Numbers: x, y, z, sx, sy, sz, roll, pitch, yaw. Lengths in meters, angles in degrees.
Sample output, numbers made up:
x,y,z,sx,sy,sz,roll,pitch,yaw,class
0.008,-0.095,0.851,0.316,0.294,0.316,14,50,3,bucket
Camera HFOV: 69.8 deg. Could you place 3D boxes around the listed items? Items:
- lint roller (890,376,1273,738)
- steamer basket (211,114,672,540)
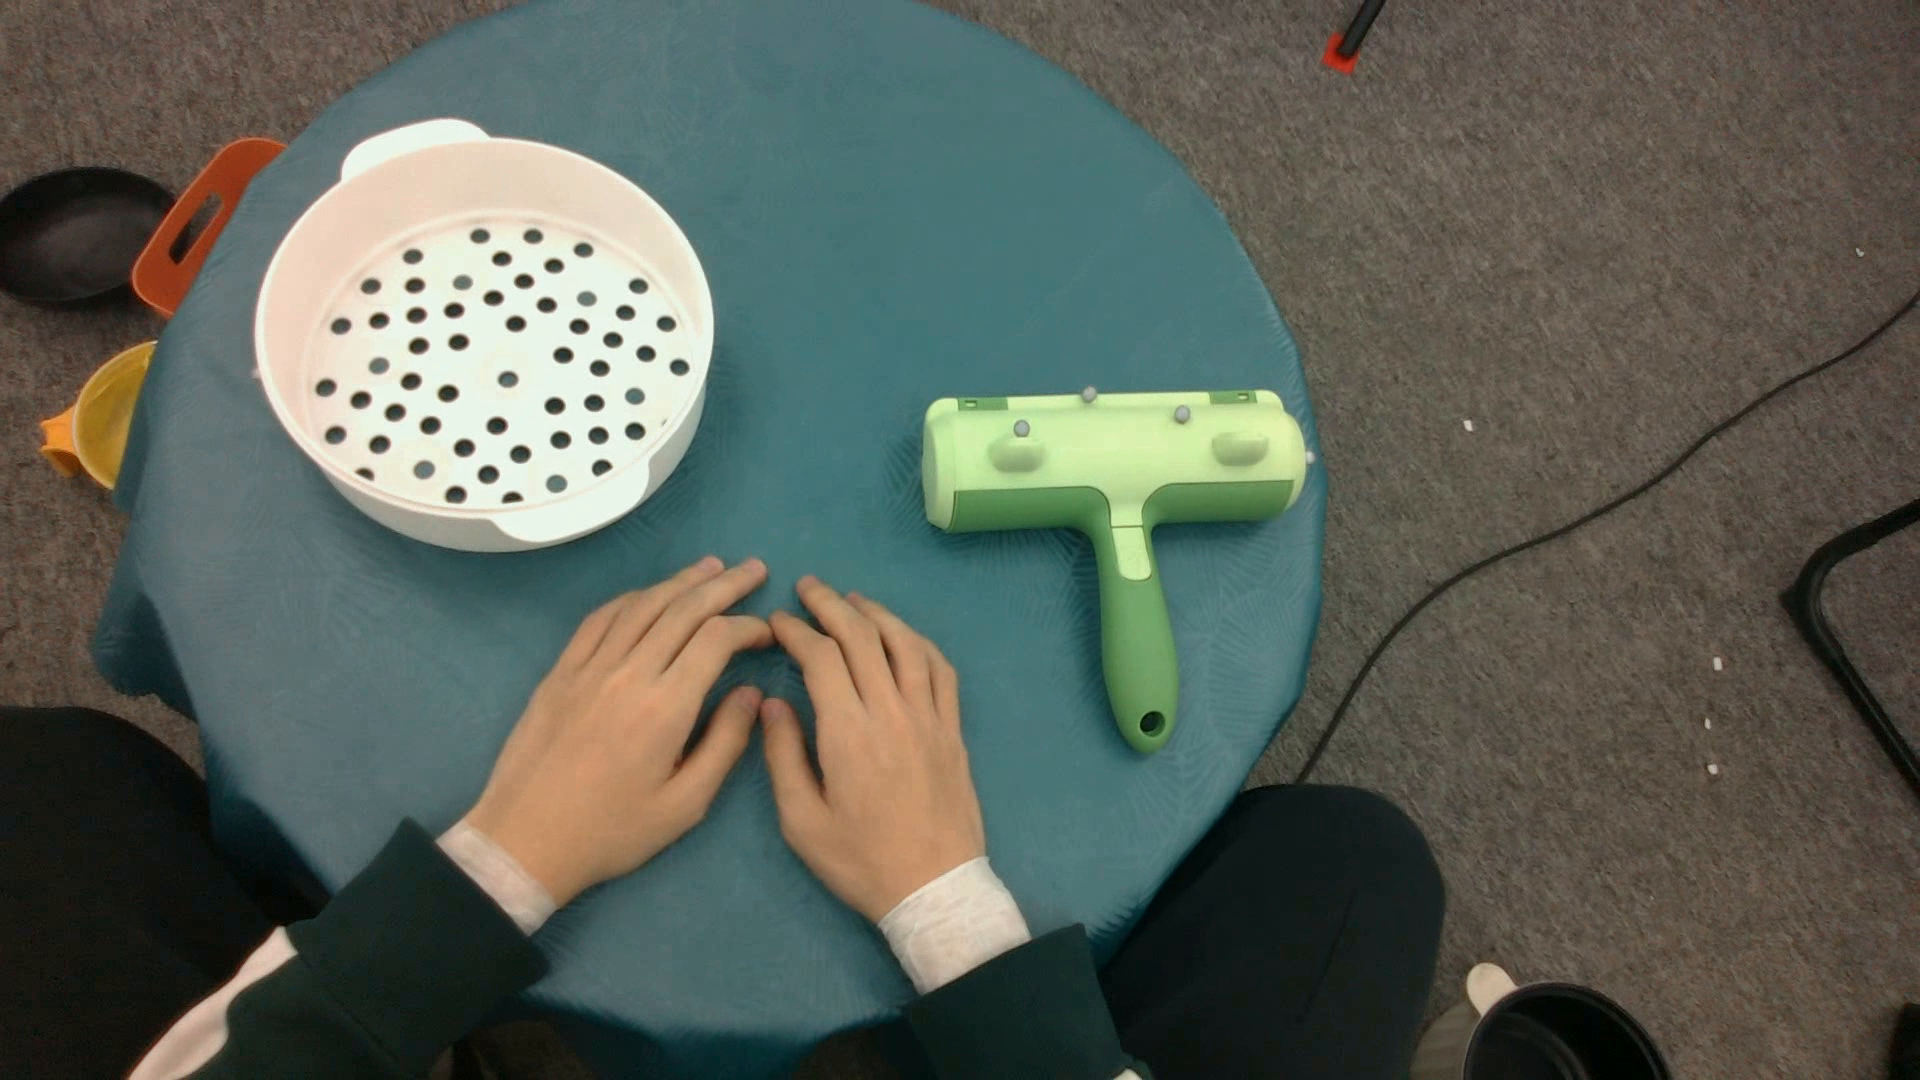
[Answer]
x,y,z,sx,sy,sz,roll,pitch,yaw,class
0.073,0.001,0.683,0.199,0.082,0.184,-3,64,-13,lint roller
-0.242,-0.097,0.663,0.202,0.069,0.231,-25,73,-21,steamer basket
